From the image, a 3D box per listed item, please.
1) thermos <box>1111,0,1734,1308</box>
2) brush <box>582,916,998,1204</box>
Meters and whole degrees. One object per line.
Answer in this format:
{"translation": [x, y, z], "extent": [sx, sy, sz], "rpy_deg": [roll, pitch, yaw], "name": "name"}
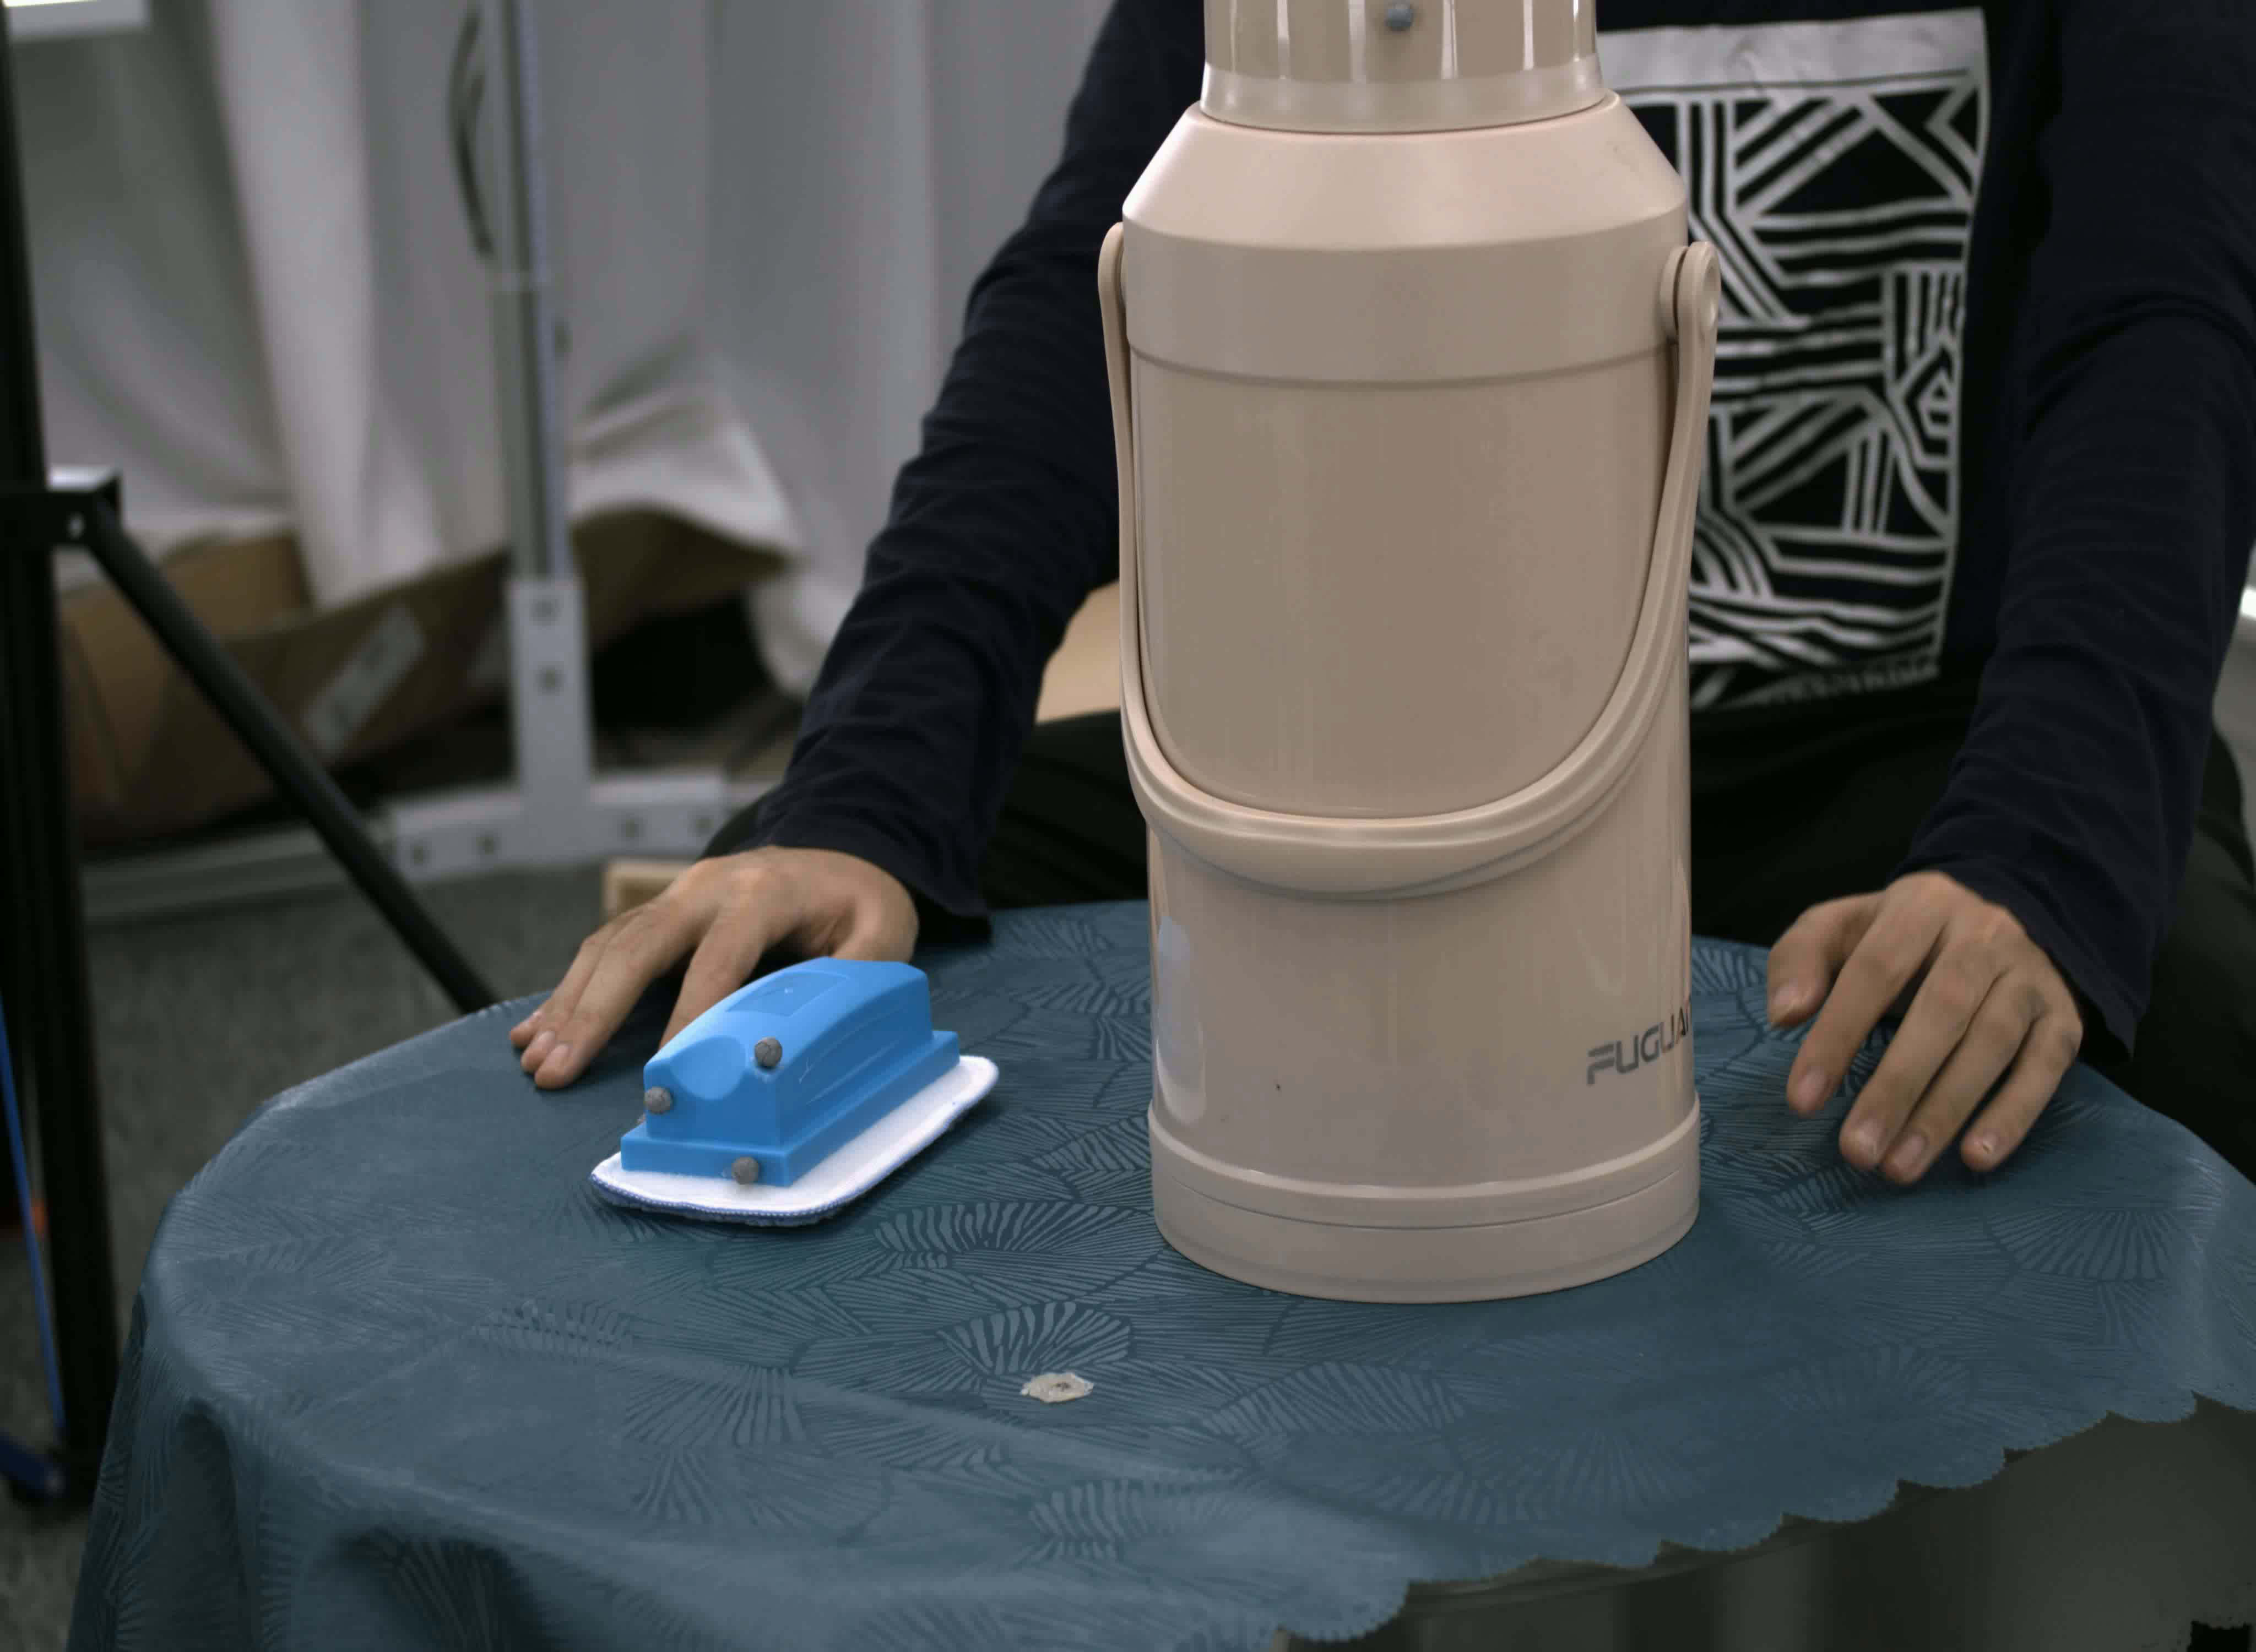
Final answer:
{"translation": [0.089, -0.083, 1.495], "extent": [0.177, 0.406, 0.204], "rpy_deg": [2, 14, 22], "name": "thermos"}
{"translation": [-0.100, 0.067, 1.609], "extent": [0.085, 0.056, 0.142], "rpy_deg": [8, 21, 24], "name": "brush"}
